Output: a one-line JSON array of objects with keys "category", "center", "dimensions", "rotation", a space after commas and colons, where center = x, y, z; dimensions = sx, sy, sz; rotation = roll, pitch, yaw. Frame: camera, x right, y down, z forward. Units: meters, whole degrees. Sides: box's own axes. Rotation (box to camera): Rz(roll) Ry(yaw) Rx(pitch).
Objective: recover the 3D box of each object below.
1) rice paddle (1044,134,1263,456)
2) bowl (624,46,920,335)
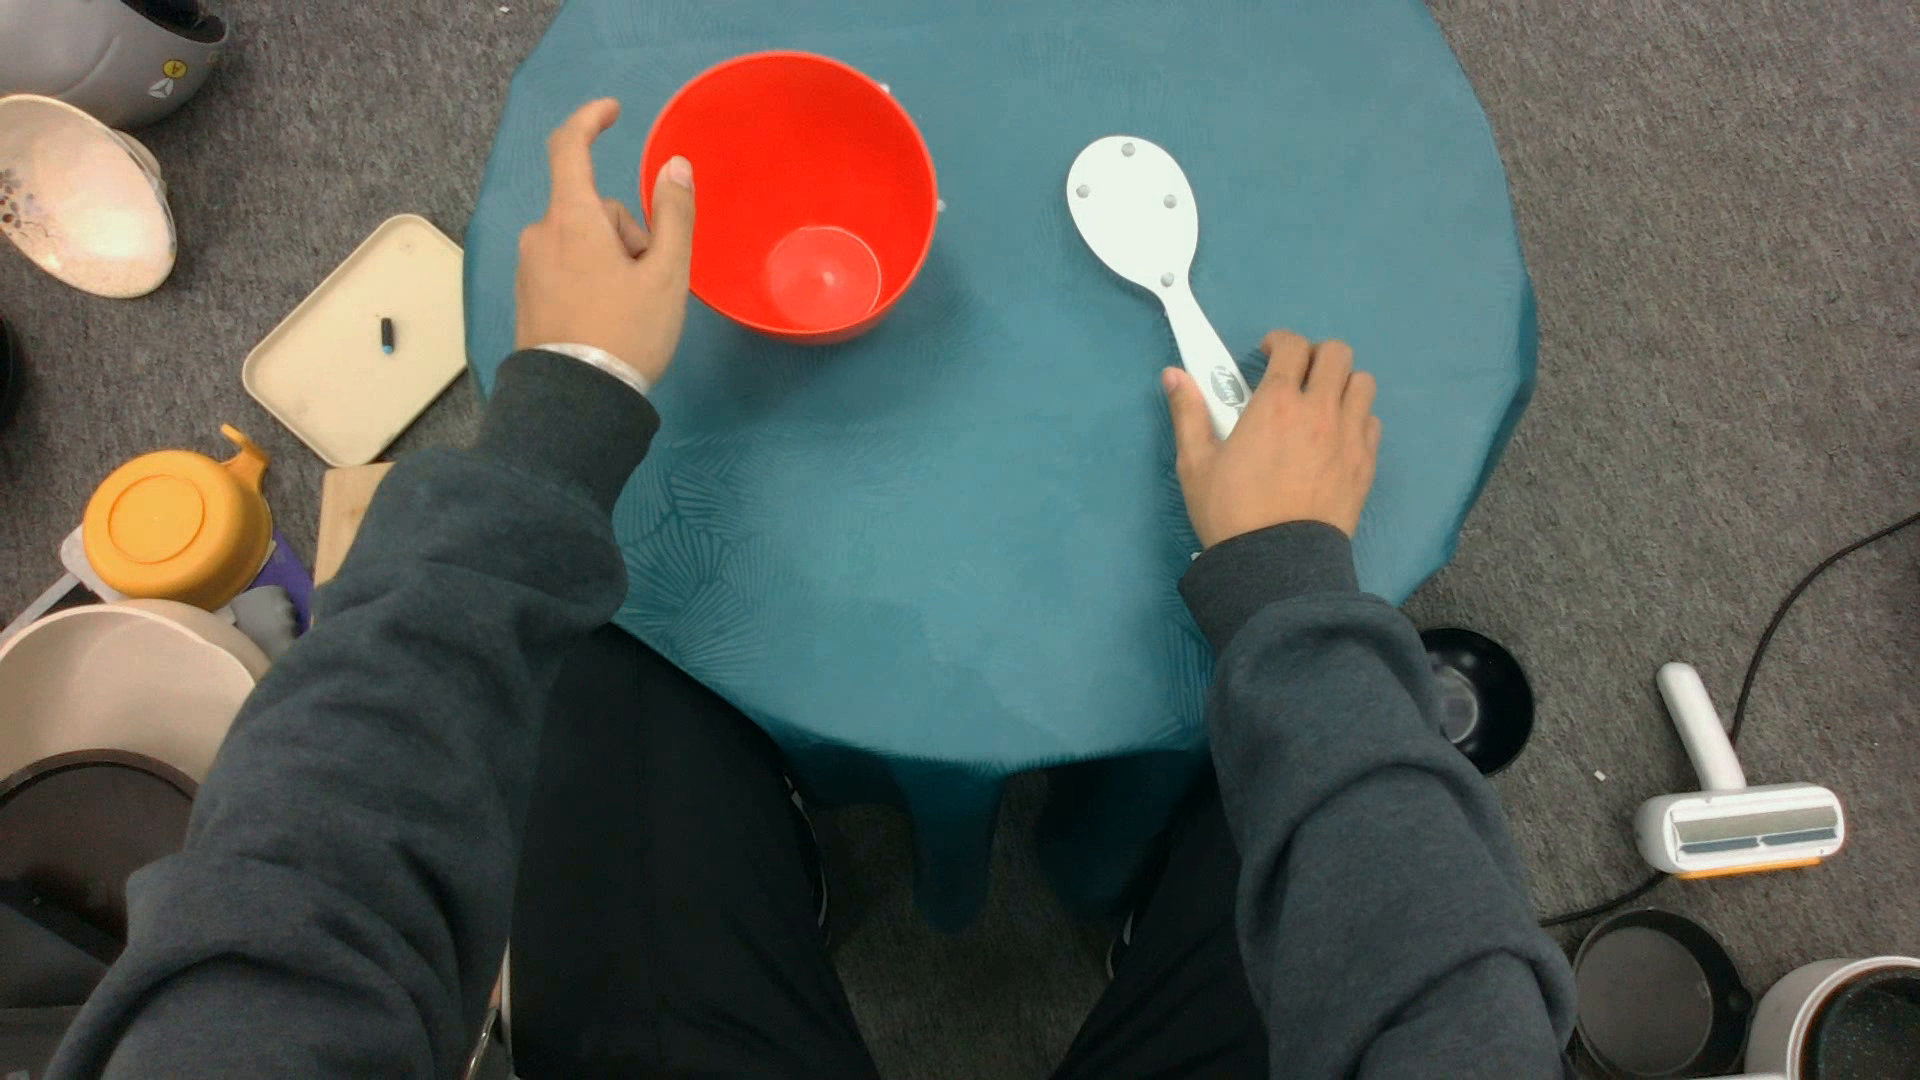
[{"category": "rice paddle", "center": [0.108, -0.143, 0.769], "dimensions": [0.069, 0.029, 0.205], "rotation": [-23, 77, -8]}, {"category": "bowl", "center": [-0.095, -0.171, 0.735], "dimensions": [0.148, 0.104, 0.148], "rotation": [1, 75, -3]}]
